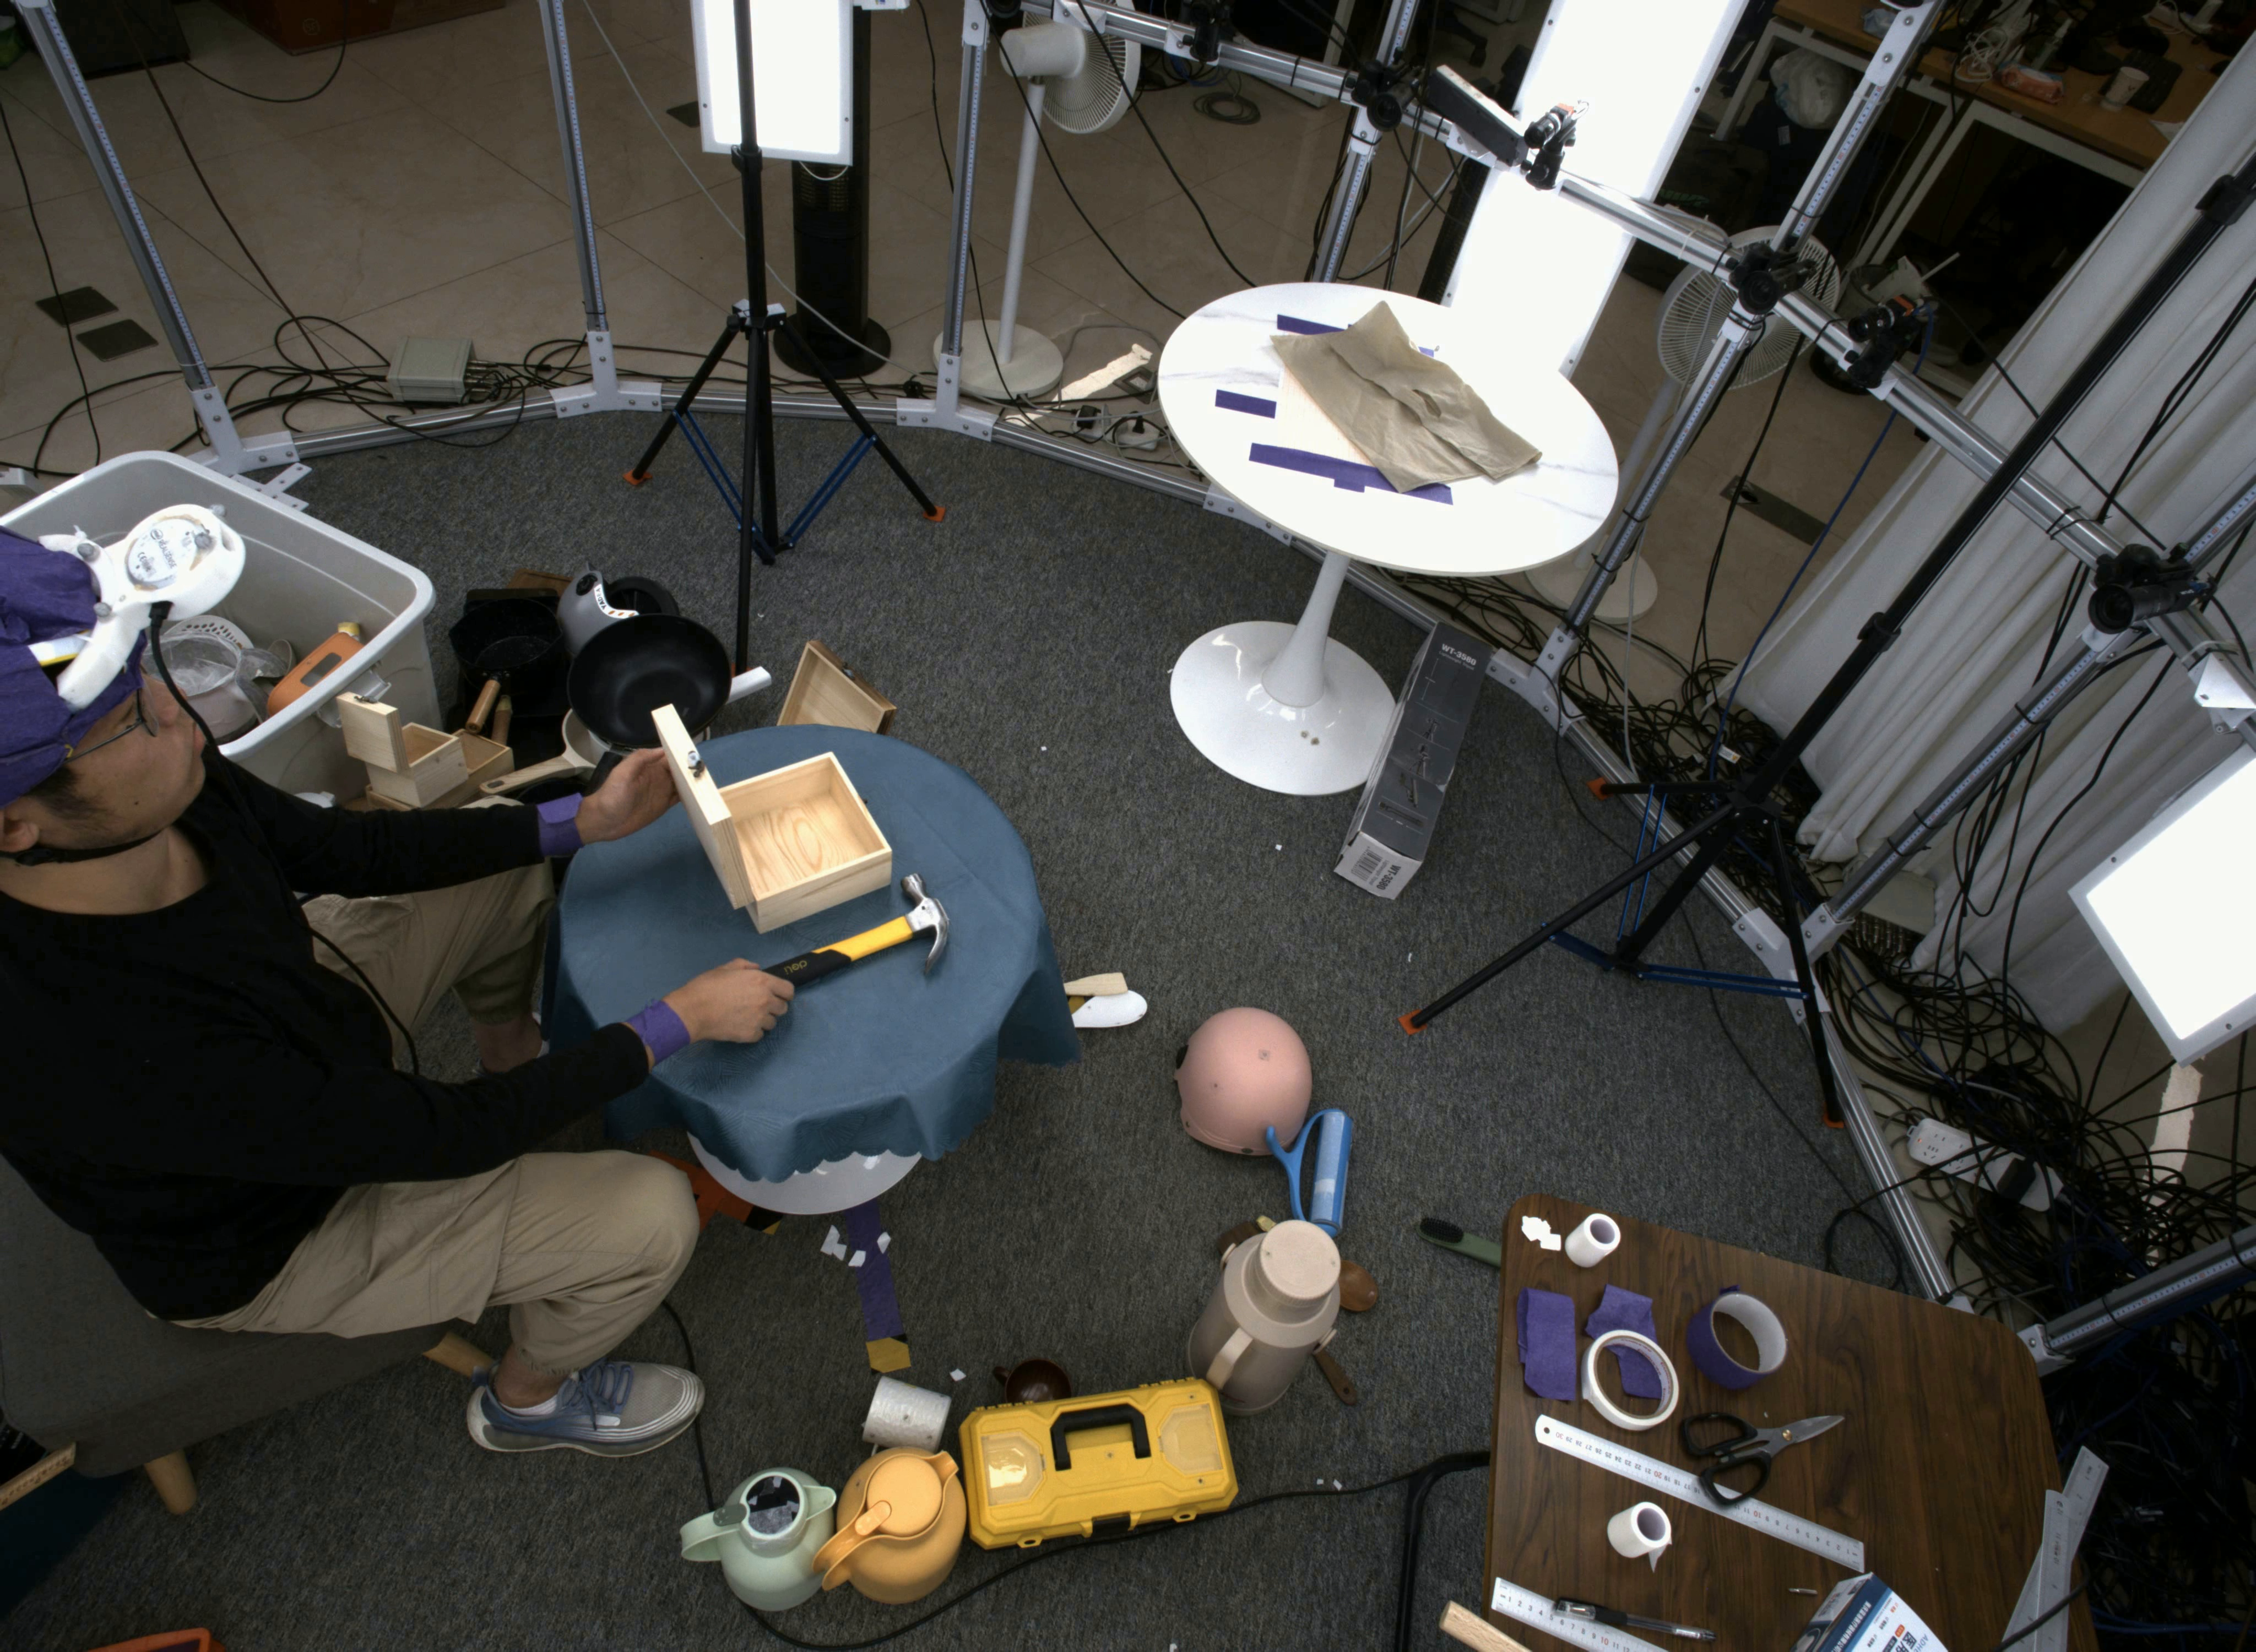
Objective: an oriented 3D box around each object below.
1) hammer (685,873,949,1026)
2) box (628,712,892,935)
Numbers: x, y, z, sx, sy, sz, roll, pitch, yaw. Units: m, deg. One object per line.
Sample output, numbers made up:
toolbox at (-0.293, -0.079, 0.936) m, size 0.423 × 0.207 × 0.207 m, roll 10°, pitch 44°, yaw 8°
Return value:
hammer at (-0.376, 0.162, 1.588) m, size 0.340 × 0.033 × 0.128 m, roll -20°, pitch 61°, yaw -28°
box at (-0.438, -0.026, 1.576) m, size 0.266 × 0.258 × 0.177 m, roll -23°, pitch 62°, yaw -28°
